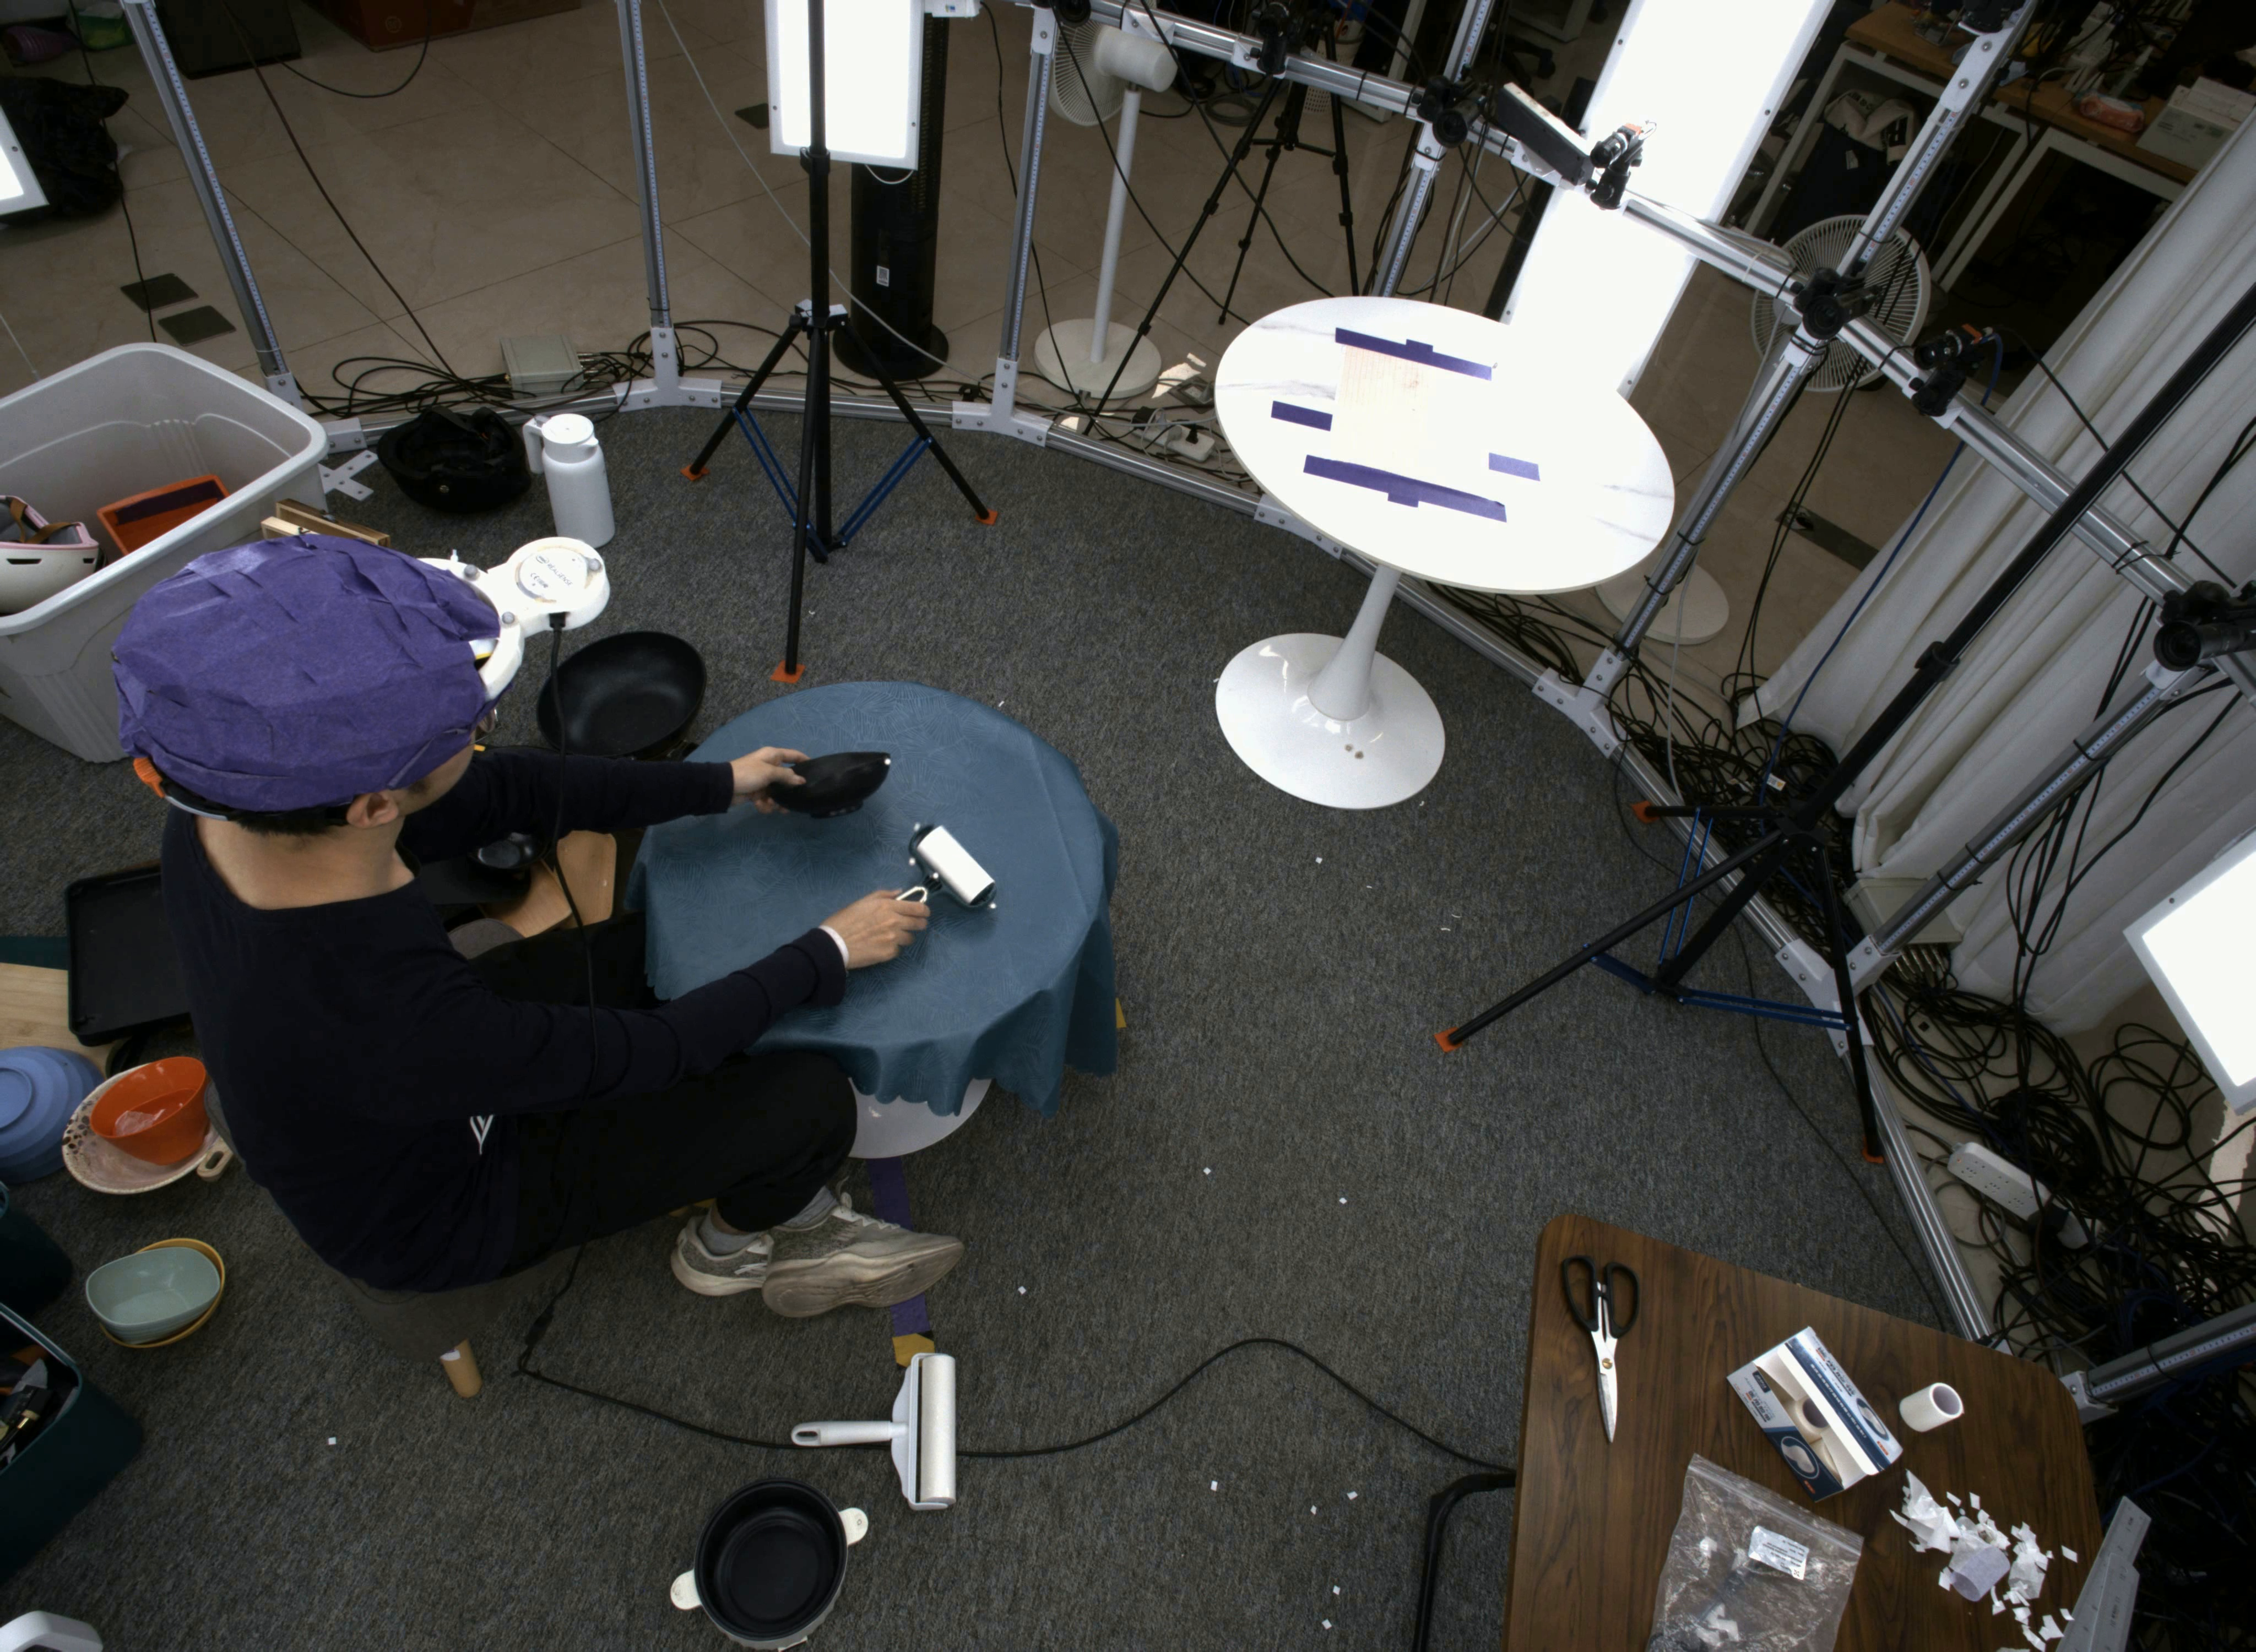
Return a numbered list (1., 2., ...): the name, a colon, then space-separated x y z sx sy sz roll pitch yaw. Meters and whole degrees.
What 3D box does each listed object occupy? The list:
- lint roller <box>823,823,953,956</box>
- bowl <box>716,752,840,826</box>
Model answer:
1. lint roller: -0.318 0.092 1.636 0.133 0.048 0.180 40 51 4
2. bowl: -0.443 -0.044 1.670 0.171 0.068 0.132 -26 22 -38
